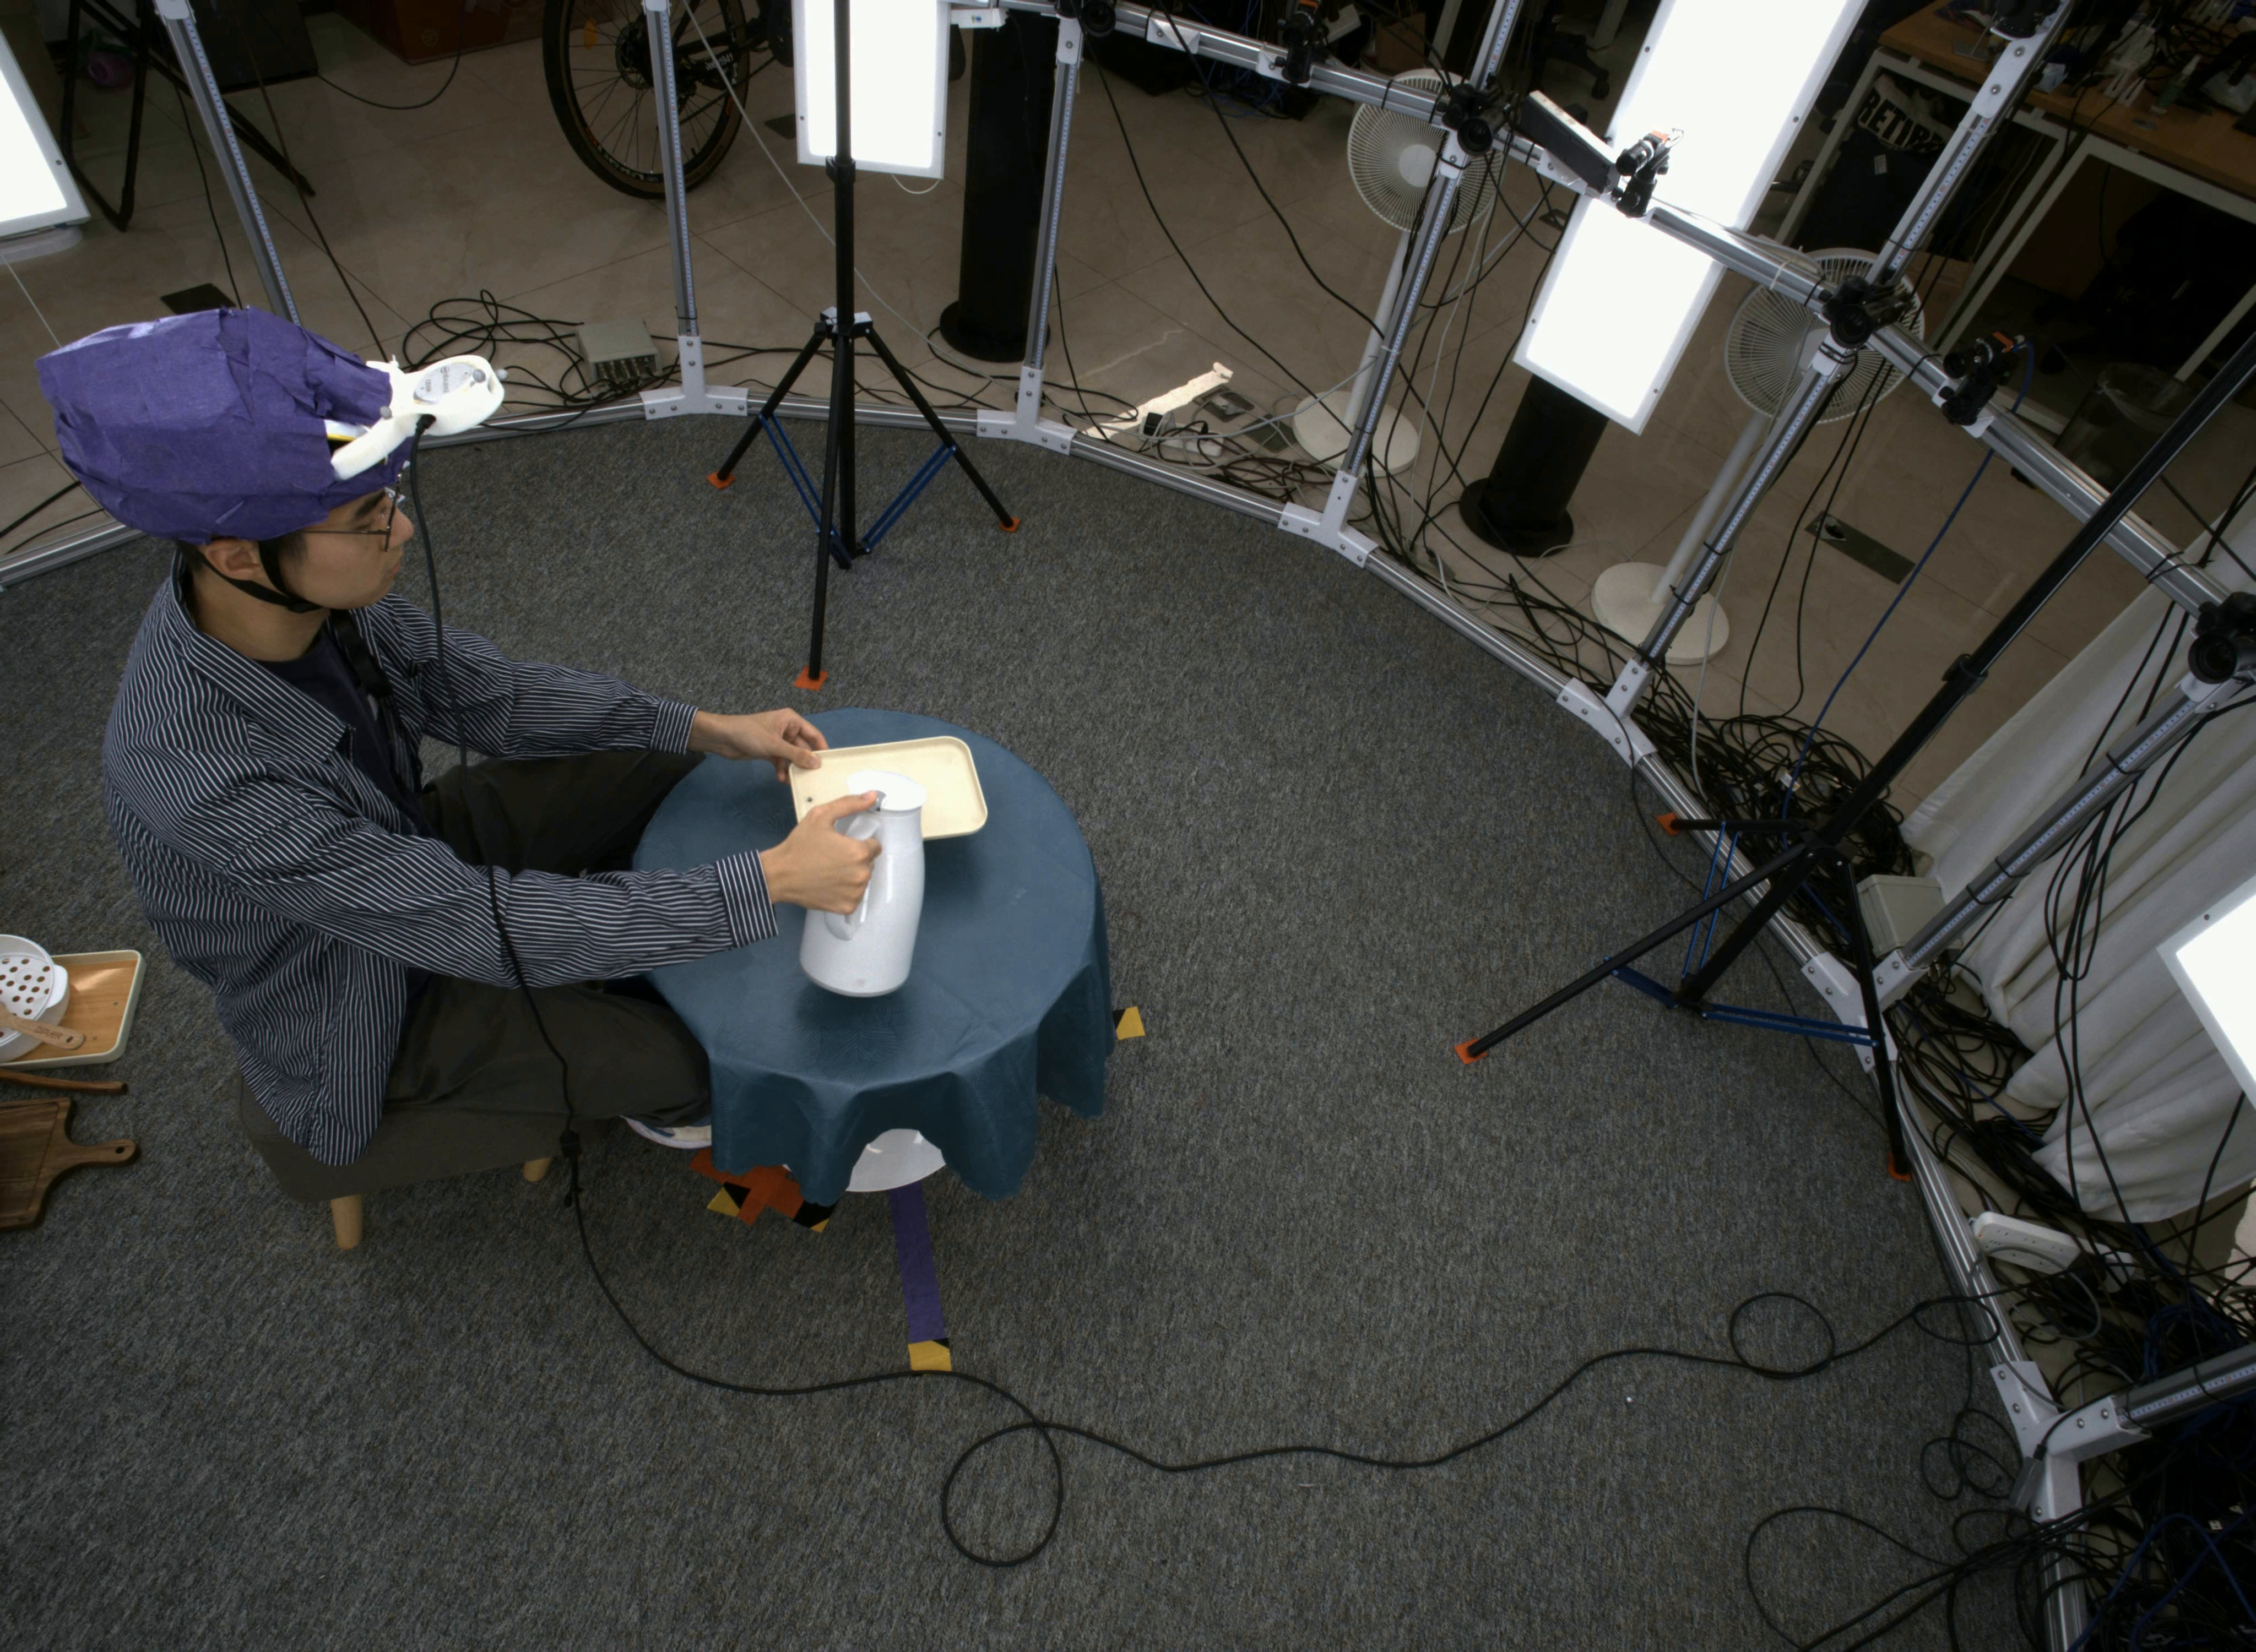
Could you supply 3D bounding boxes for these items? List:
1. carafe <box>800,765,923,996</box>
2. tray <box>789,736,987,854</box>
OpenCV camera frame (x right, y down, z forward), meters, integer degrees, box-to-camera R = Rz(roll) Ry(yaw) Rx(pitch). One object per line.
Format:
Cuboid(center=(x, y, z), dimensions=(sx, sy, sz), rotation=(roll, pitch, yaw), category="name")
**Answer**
Cuboid(center=(-0.303, 0.063, 1.489), dimensions=(0.131, 0.254, 0.166), rotation=(17, 27, 3), category="carafe")
Cuboid(center=(-0.312, -0.041, 1.689), dimensions=(0.240, 0.018, 0.167), rotation=(-8, 53, -18), category="tray")
